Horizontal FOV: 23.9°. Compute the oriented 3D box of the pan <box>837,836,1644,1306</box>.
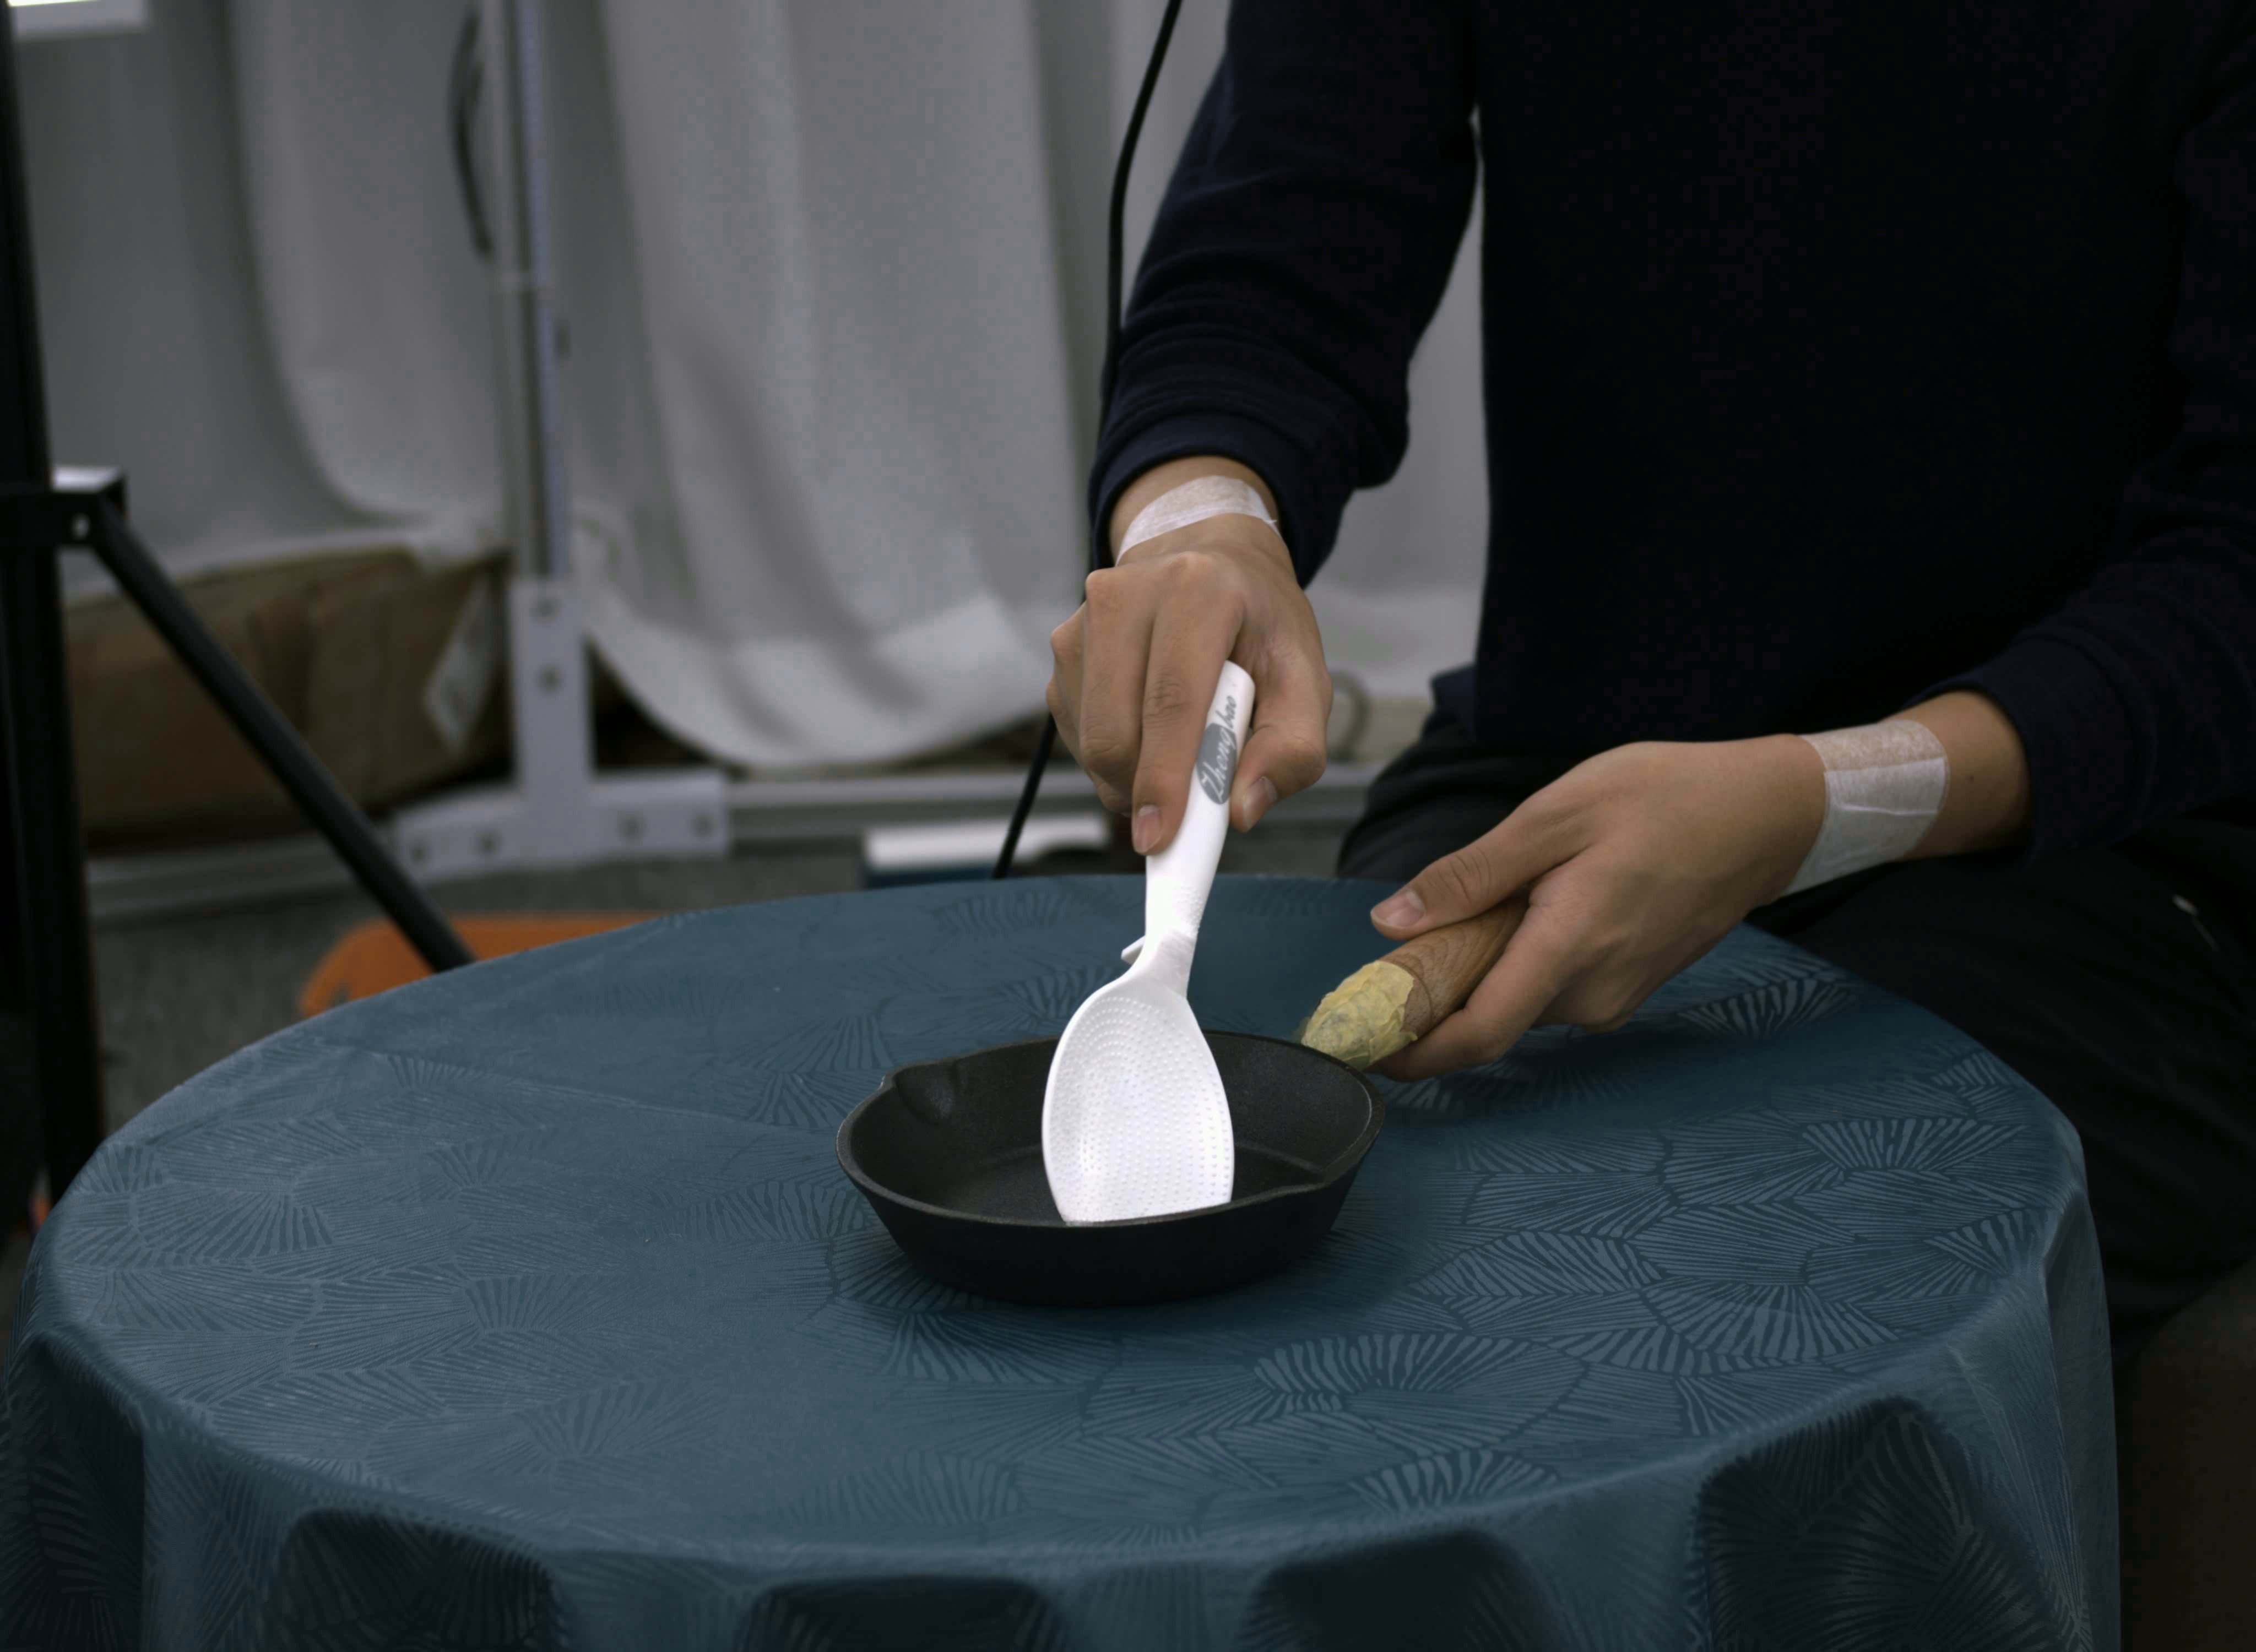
[{"bbox_3d":[0.053,0.069,1.573,0.173,0.049,0.317,12,26,44],"label":"pan"}]

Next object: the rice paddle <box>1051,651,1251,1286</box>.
[{"bbox_3d":[0.012,0.040,1.518,0.067,0.207,0.030,28,-40,-27],"label":"rice paddle"}]
